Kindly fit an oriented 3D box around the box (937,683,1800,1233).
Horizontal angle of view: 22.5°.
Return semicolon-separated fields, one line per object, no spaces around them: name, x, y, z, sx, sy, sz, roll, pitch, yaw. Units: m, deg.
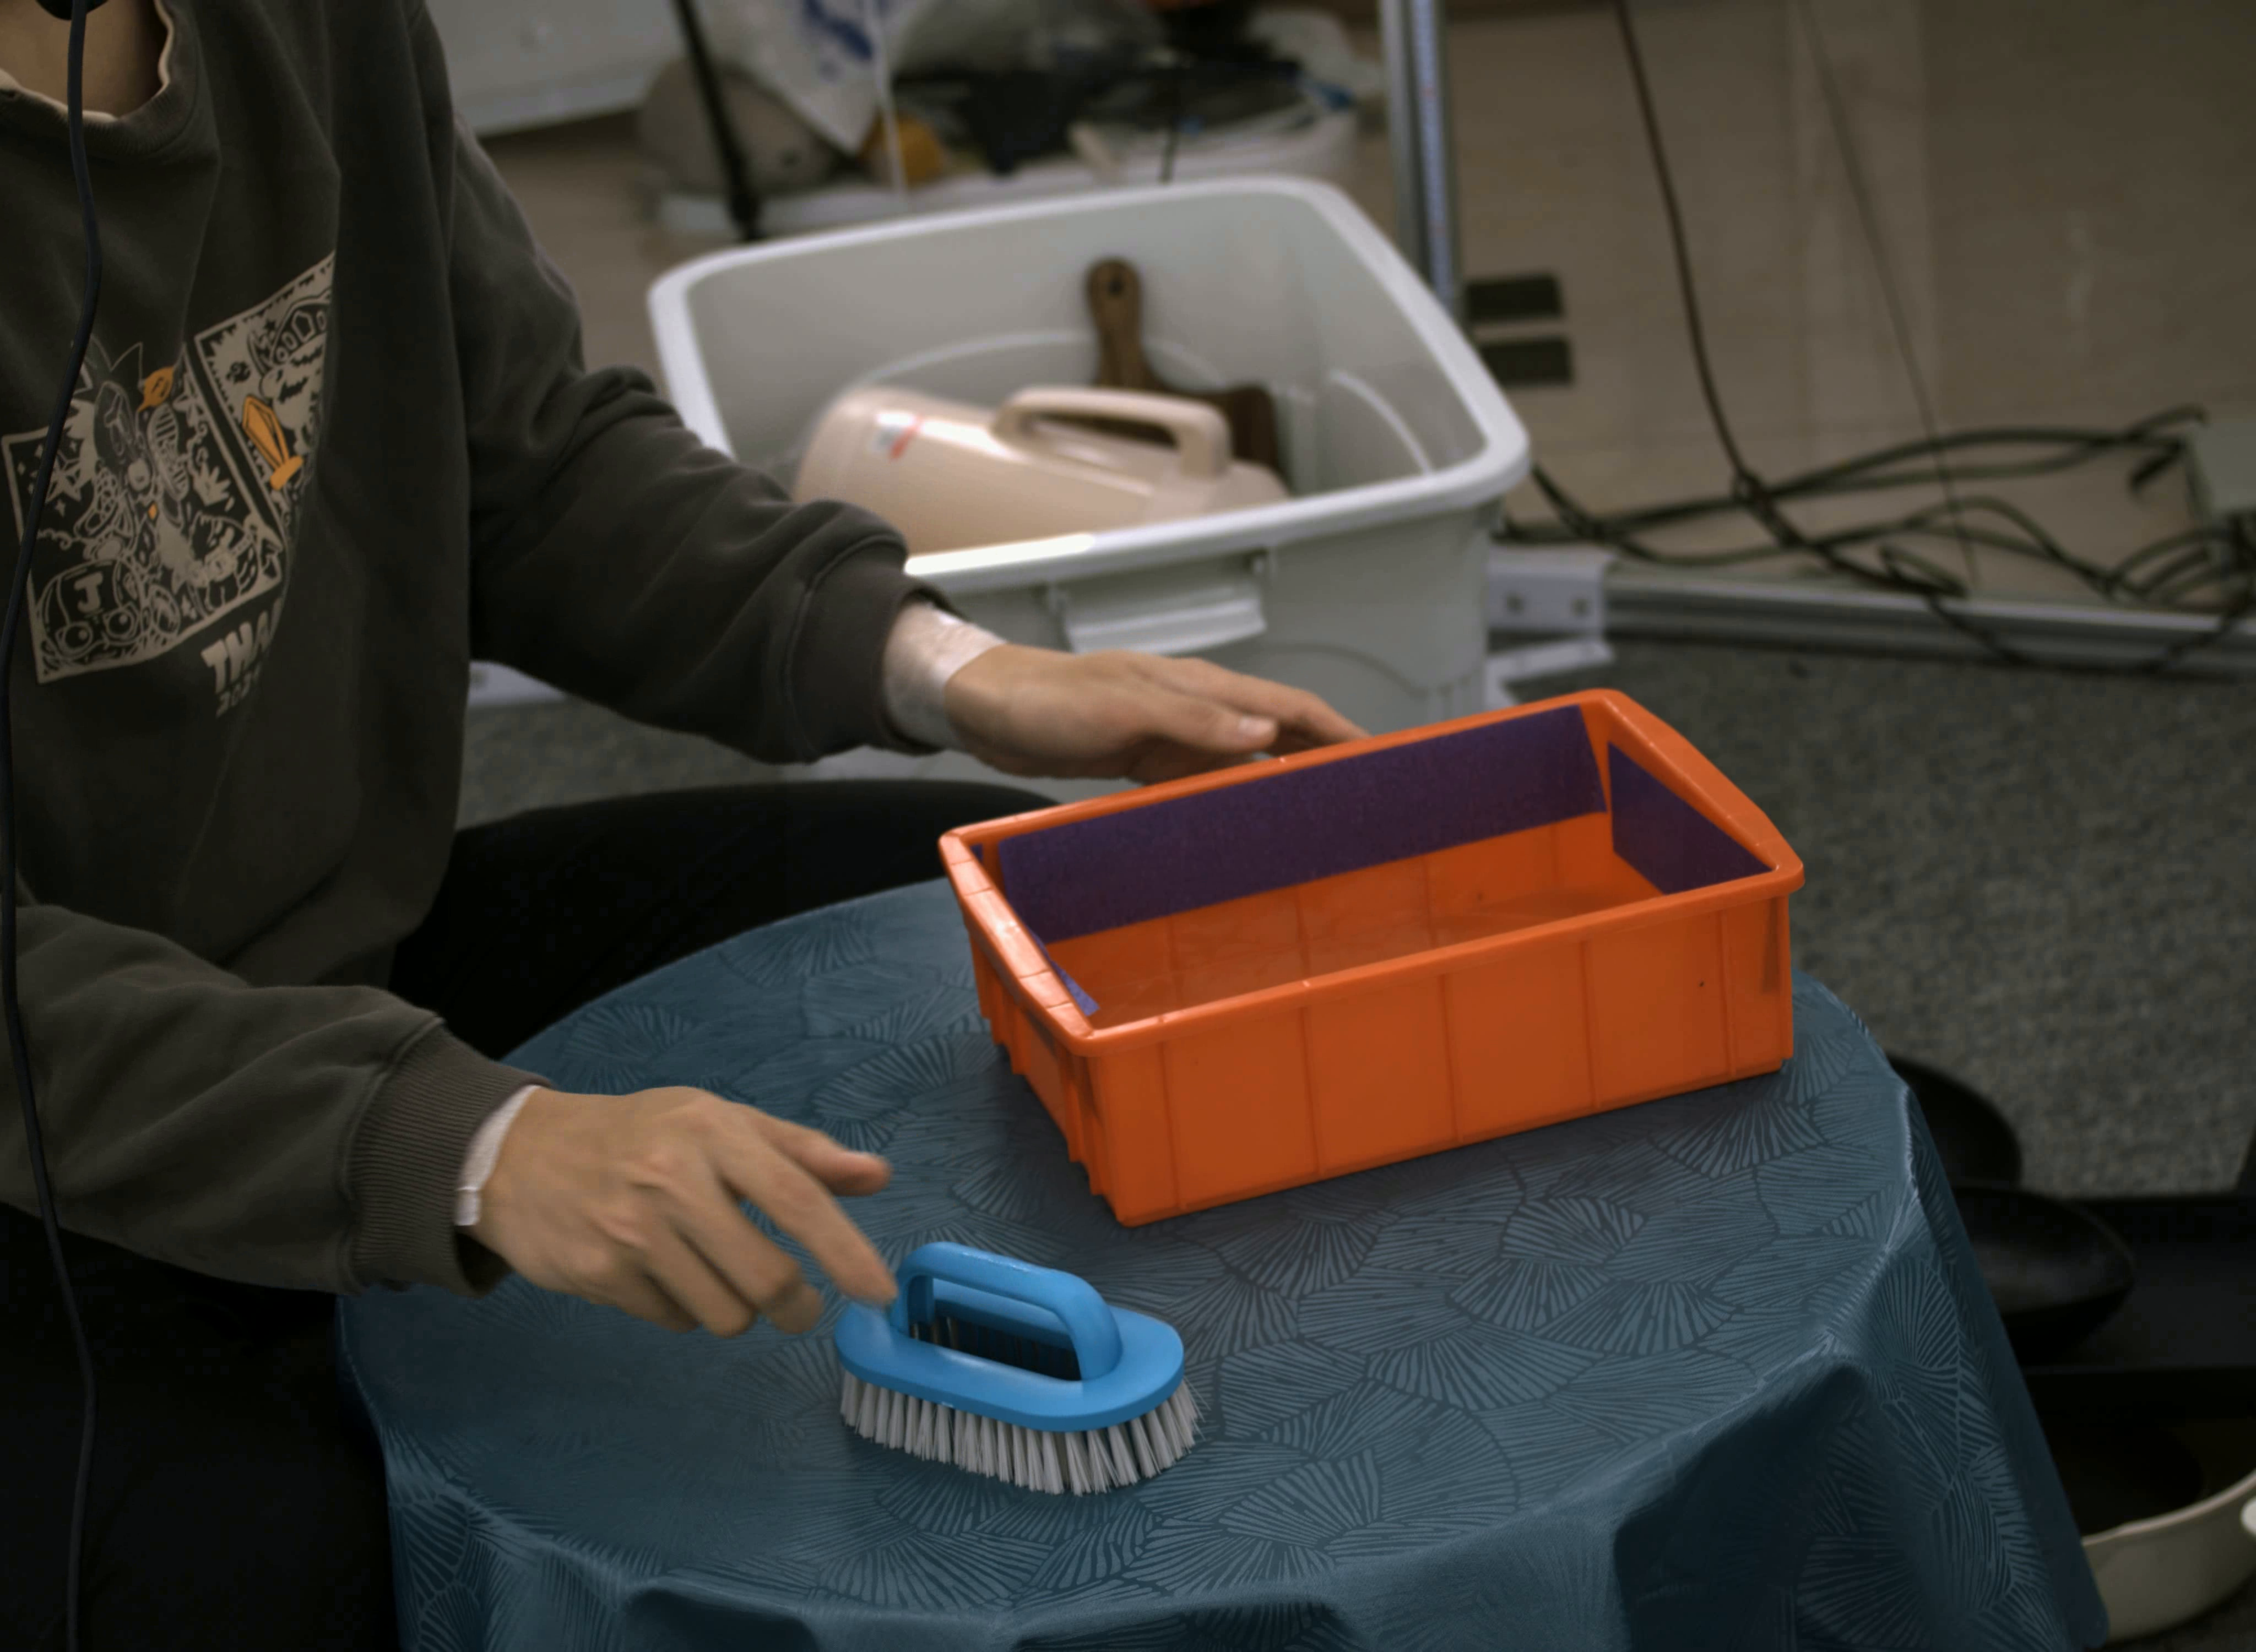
box;0.093;0.051;2.210;0.303;0.098;0.204;-12;26;-12

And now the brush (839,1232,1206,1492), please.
brush;-0.042;0.178;1.995;0.141;0.065;0.083;12;36;37
